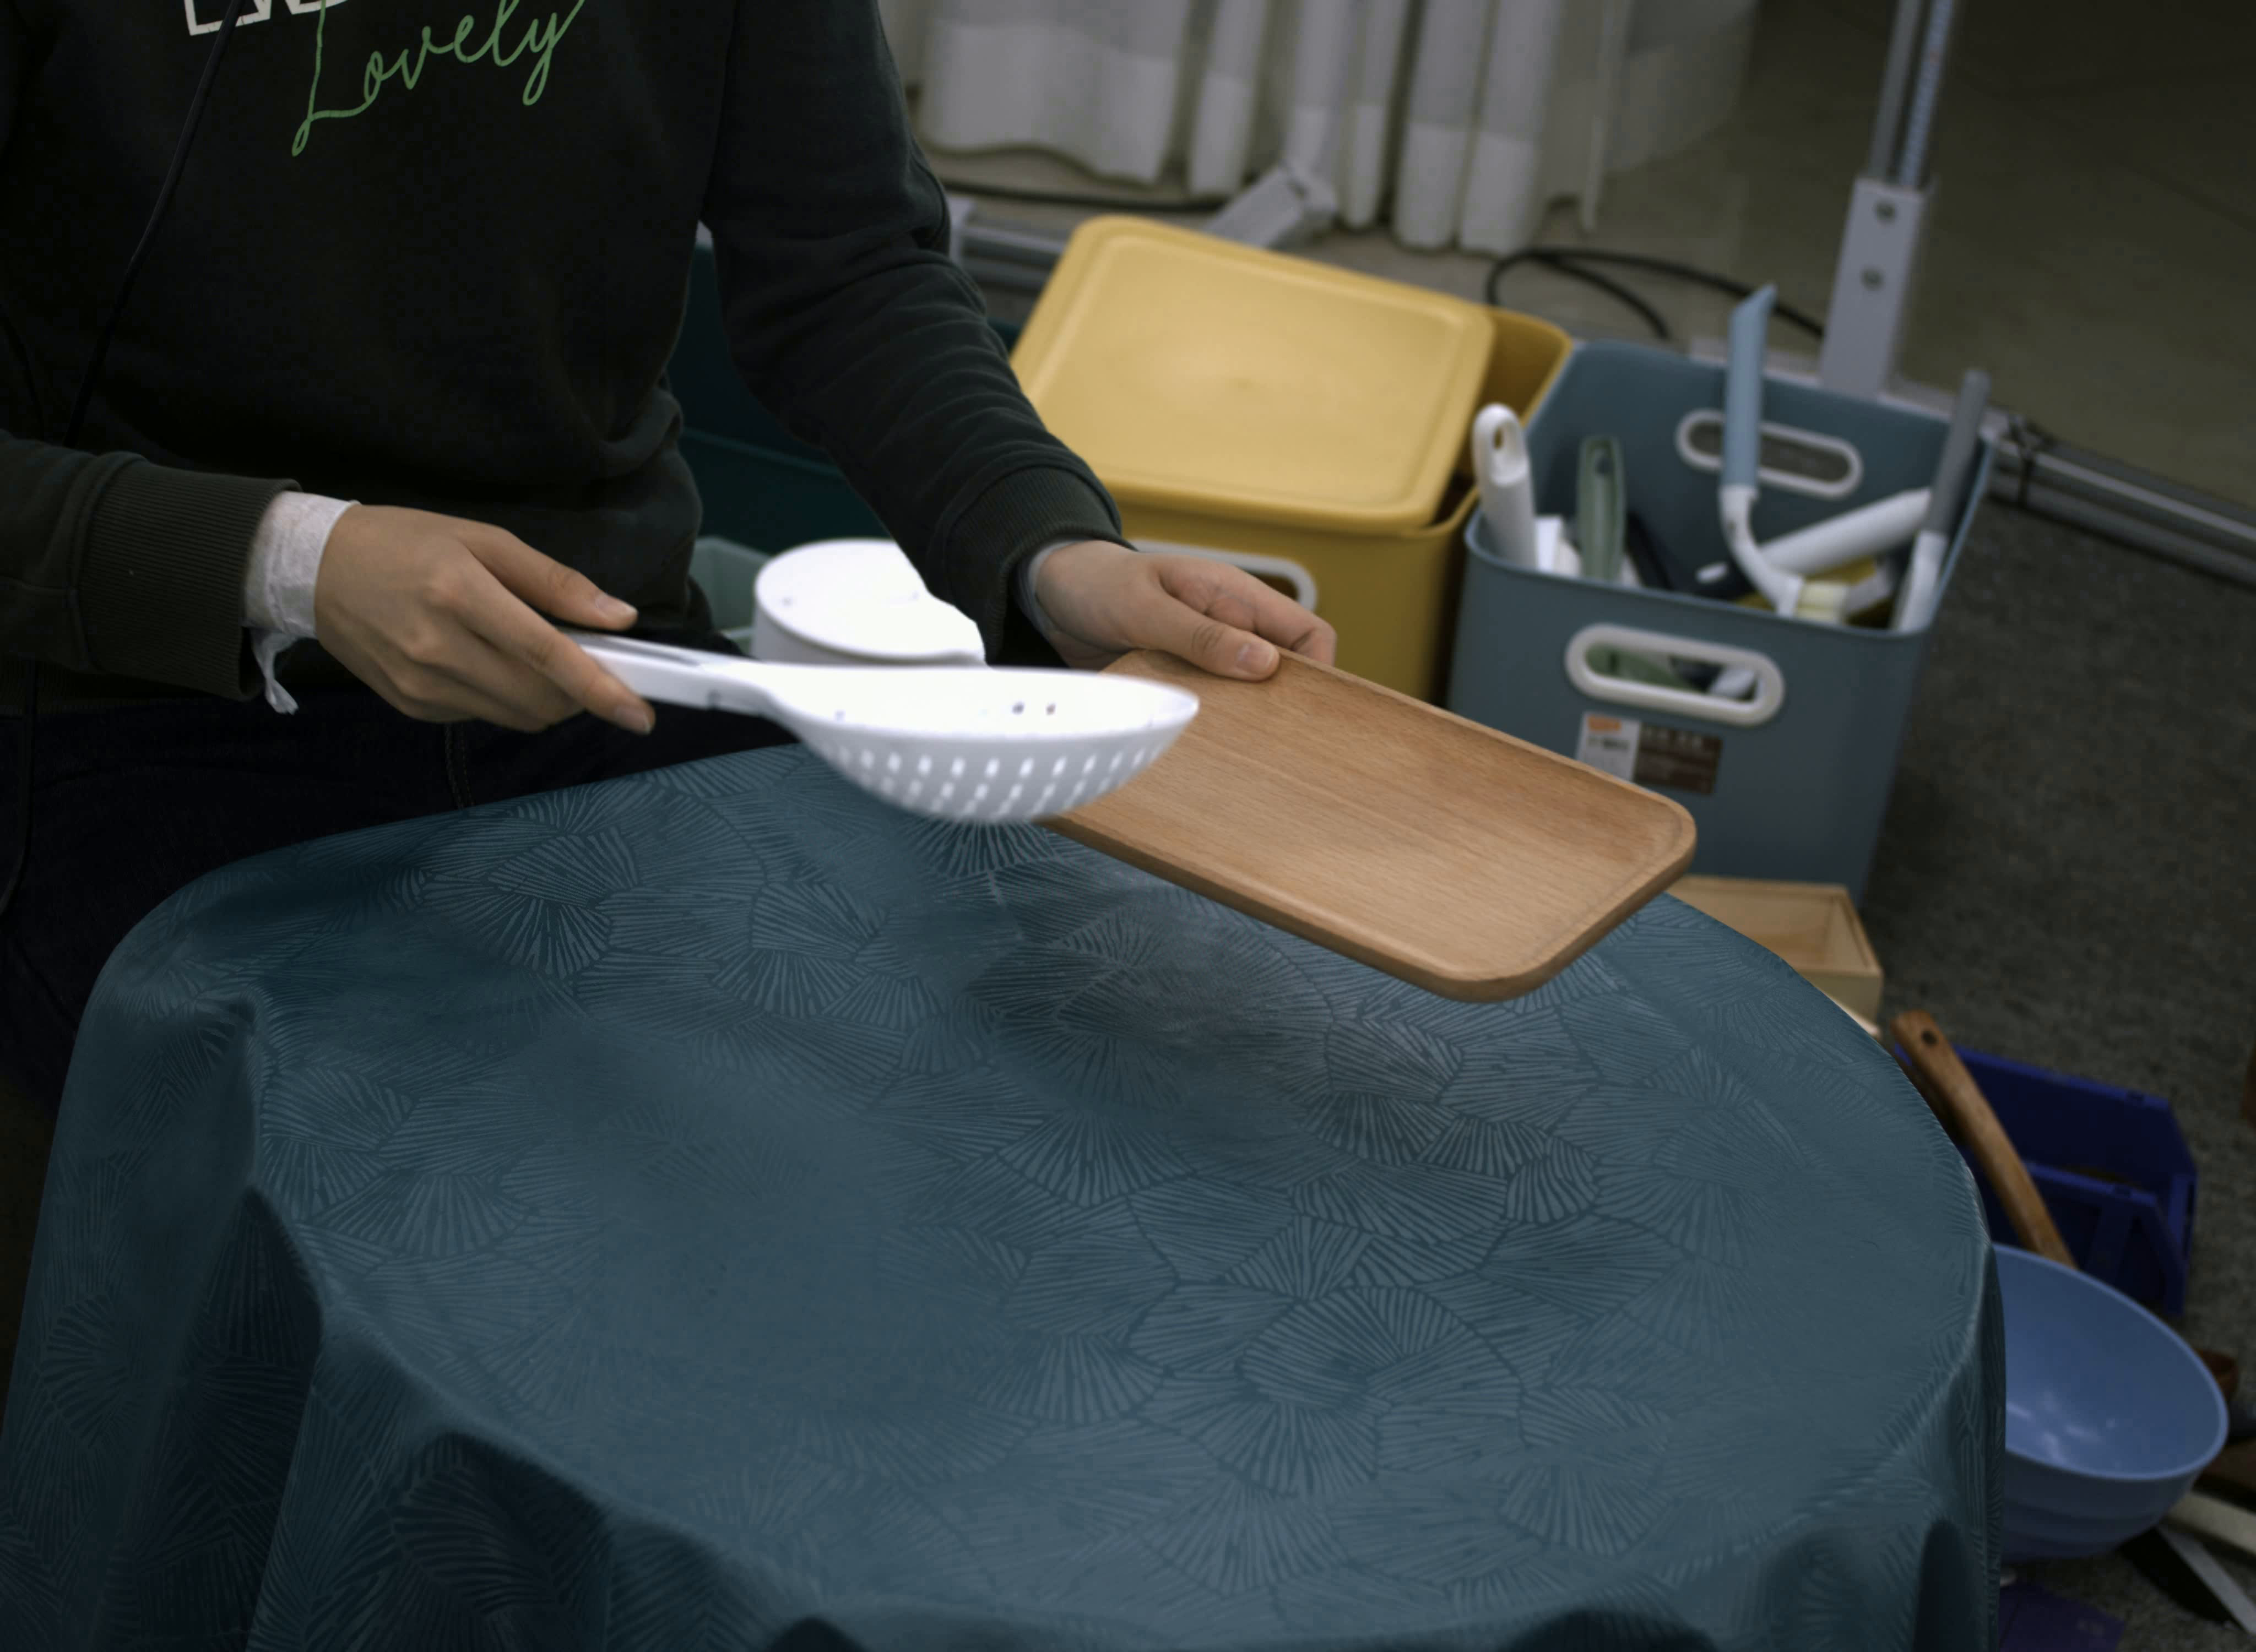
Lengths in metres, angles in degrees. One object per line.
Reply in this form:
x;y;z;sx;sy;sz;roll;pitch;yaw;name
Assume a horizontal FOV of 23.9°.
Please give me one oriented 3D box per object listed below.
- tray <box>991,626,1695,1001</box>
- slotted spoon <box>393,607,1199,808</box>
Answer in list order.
0.072;-0.006;1.864;0.252;0.023;0.130;22;42;39;tray
-0.127;-0.051;1.819;0.352;0.046;0.135;15;15;39;slotted spoon
